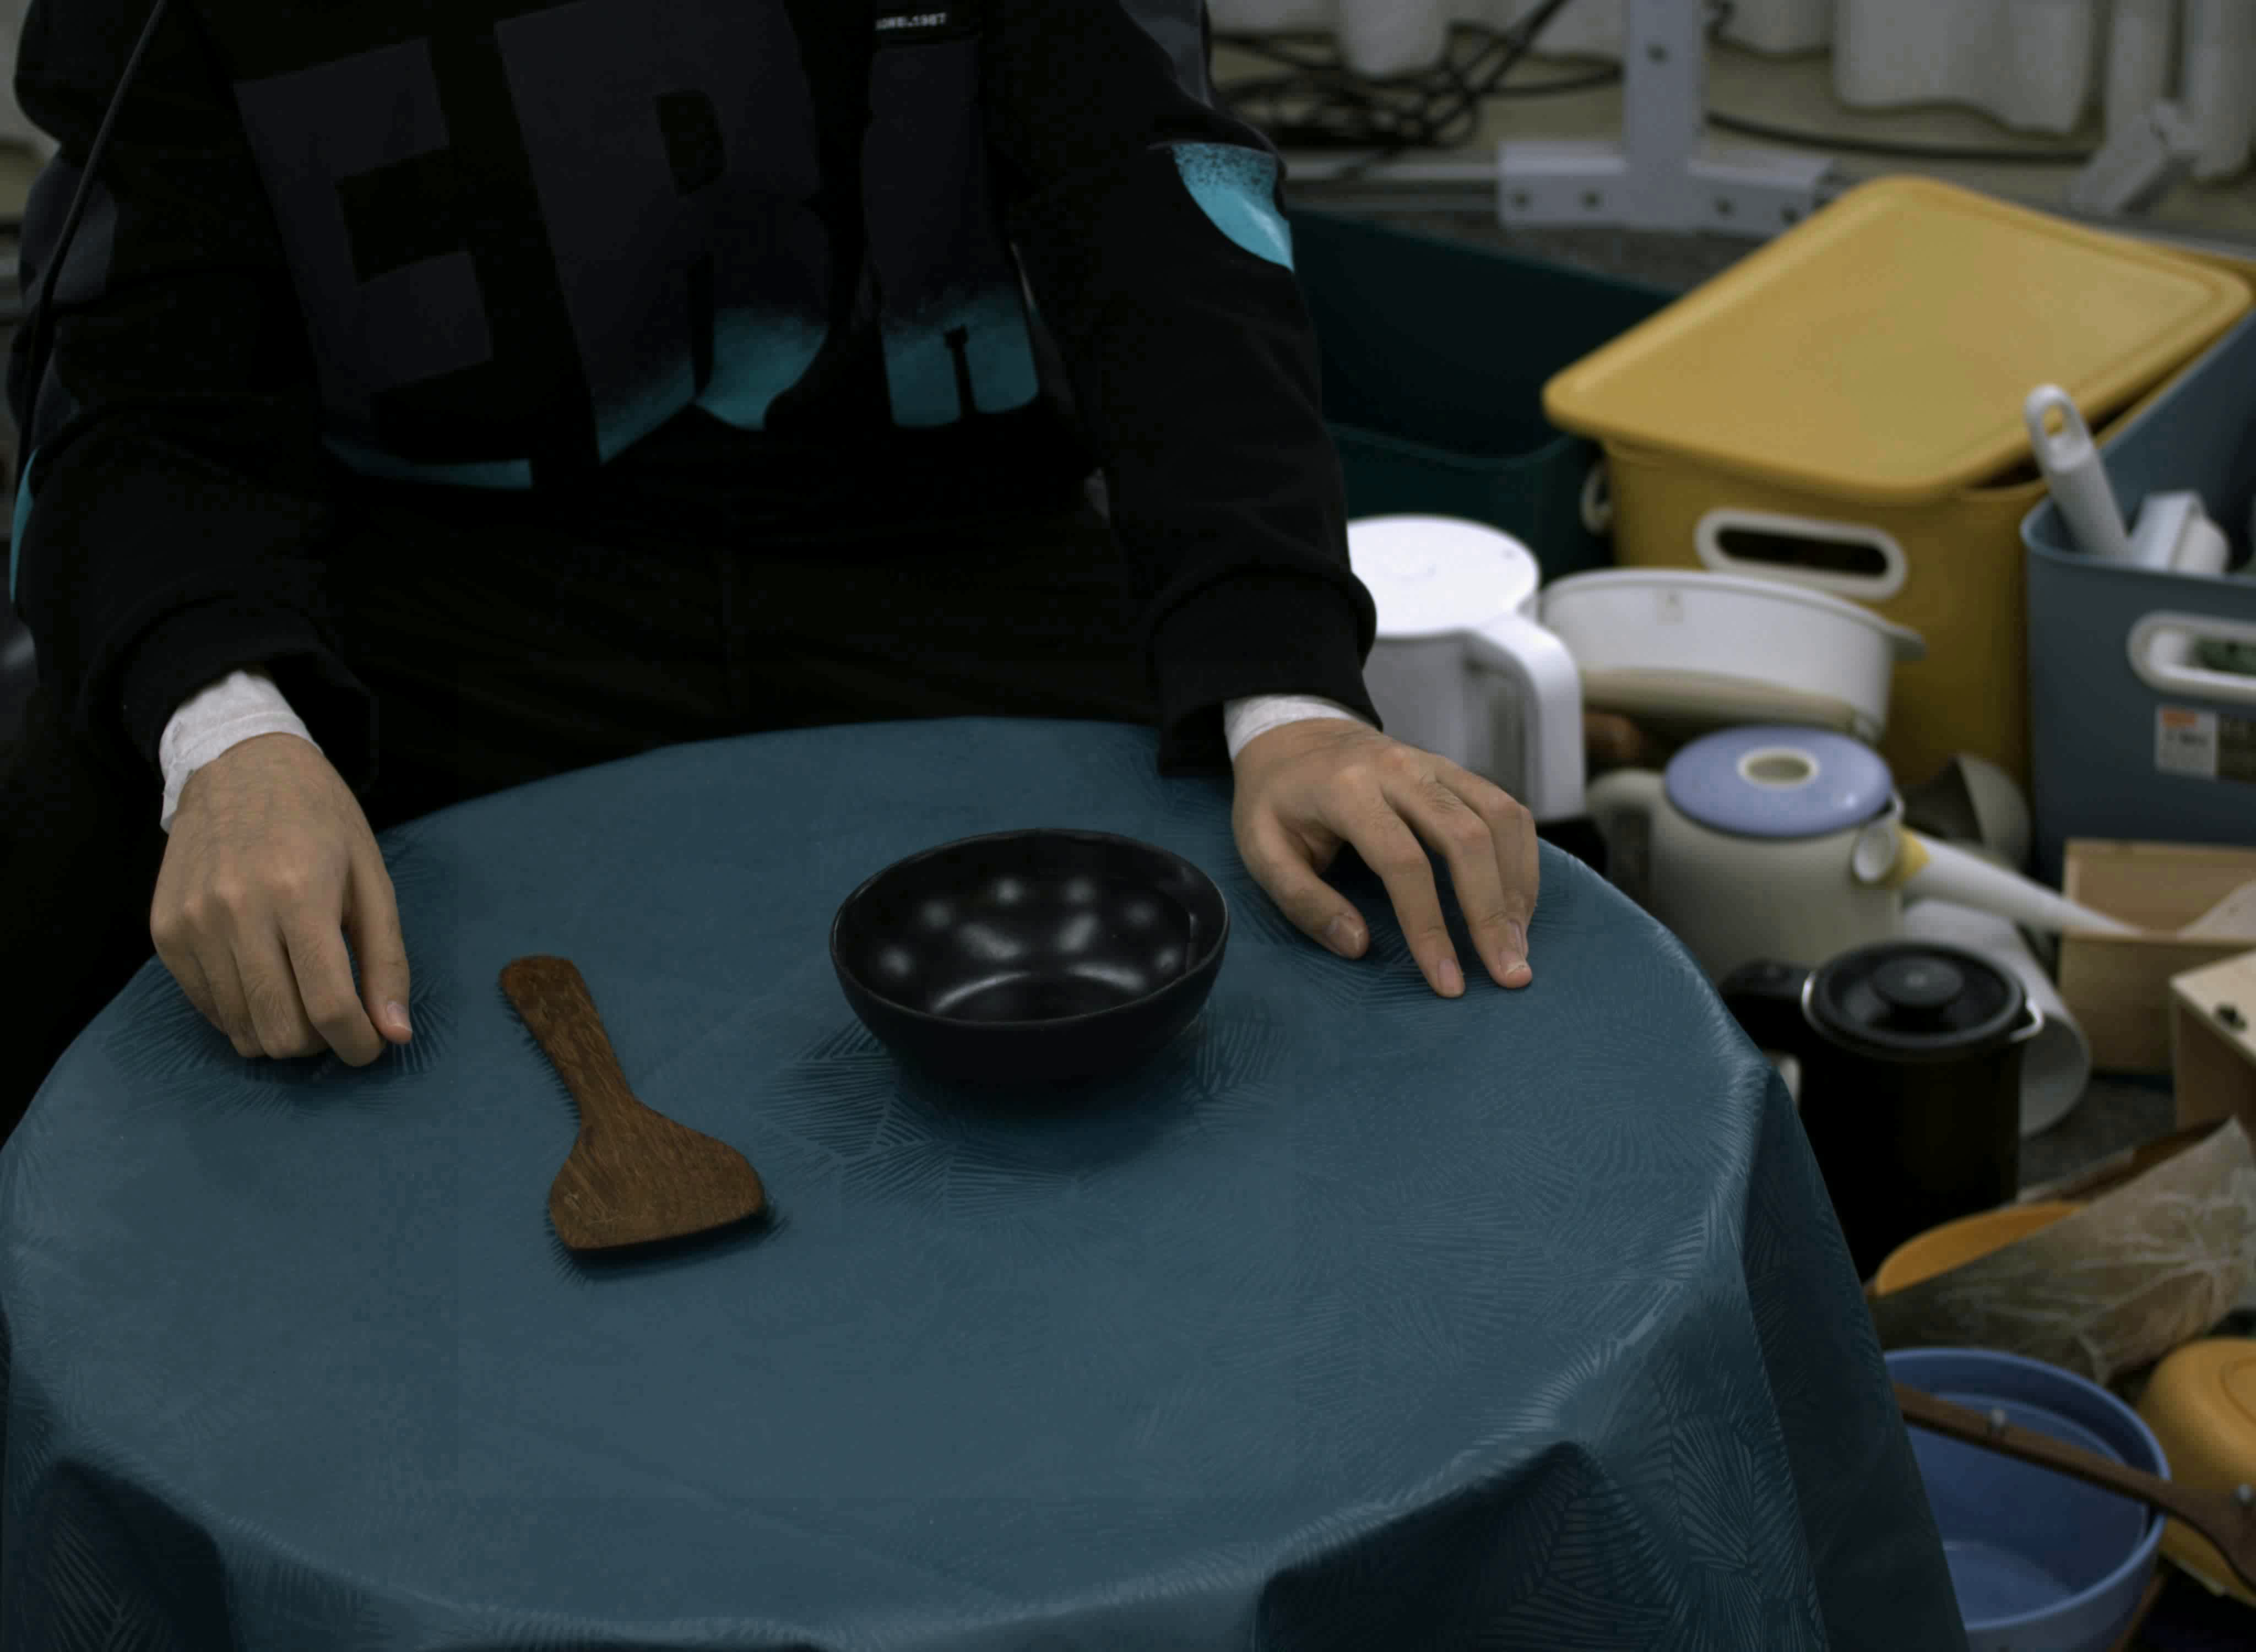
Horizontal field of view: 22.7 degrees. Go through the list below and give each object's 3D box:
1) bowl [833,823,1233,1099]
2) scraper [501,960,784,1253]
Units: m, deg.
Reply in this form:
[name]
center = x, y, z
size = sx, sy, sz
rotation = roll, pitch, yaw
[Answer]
[bowl]
center = -0.031, 0.055, 1.940
size = 0.139, 0.049, 0.142
rotation = -4, 29, 3
[scraper]
center = -0.179, 0.094, 1.923
size = 0.076, 0.011, 0.213
rotation = -10, 27, -16
